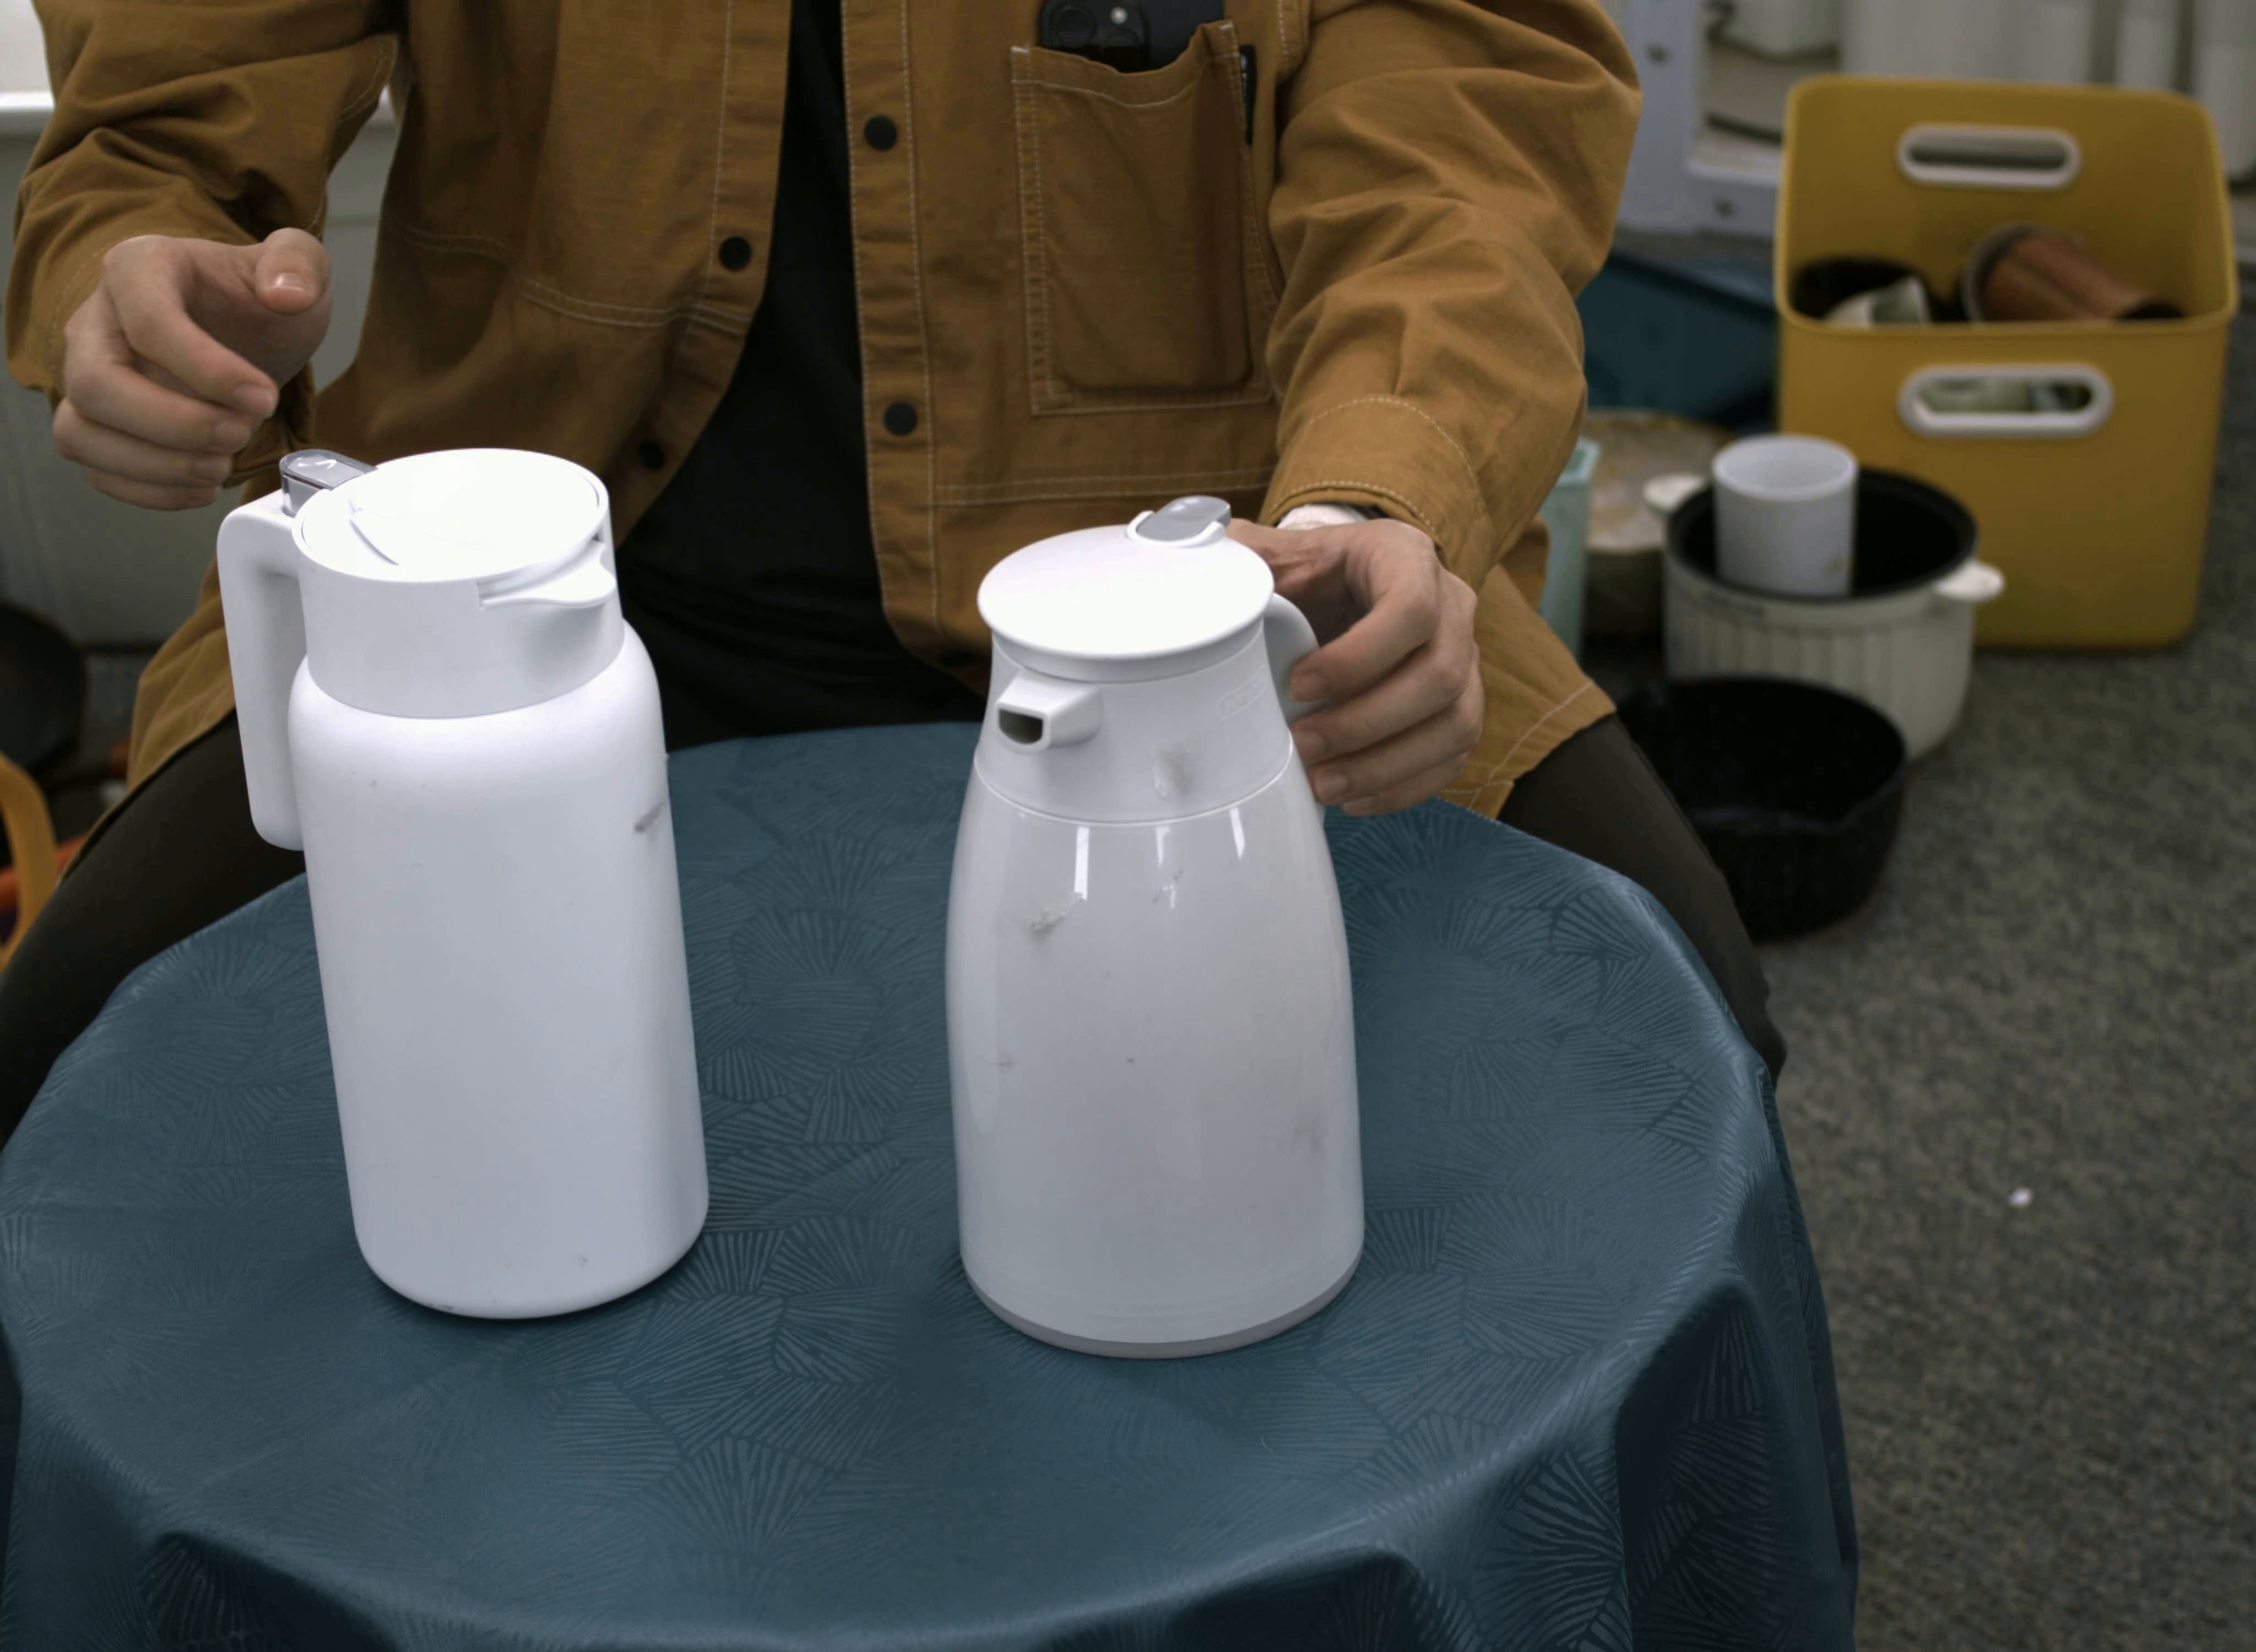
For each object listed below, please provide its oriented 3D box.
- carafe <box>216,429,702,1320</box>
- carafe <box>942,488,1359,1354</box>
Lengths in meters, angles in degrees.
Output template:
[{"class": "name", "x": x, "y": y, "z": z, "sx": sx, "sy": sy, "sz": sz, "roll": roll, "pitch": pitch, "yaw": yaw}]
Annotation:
[{"class": "carafe", "x": -0.217, "y": 0.014, "z": 1.801, "sx": 0.172, "sy": 0.266, "sz": 0.125, "roll": 18, "pitch": 35, "yaw": 37}, {"class": "carafe", "x": 0.013, "y": 0.019, "z": 1.787, "sx": 0.132, "sy": 0.246, "sz": 0.170, "roll": 12, "pitch": 29, "yaw": 28}]
